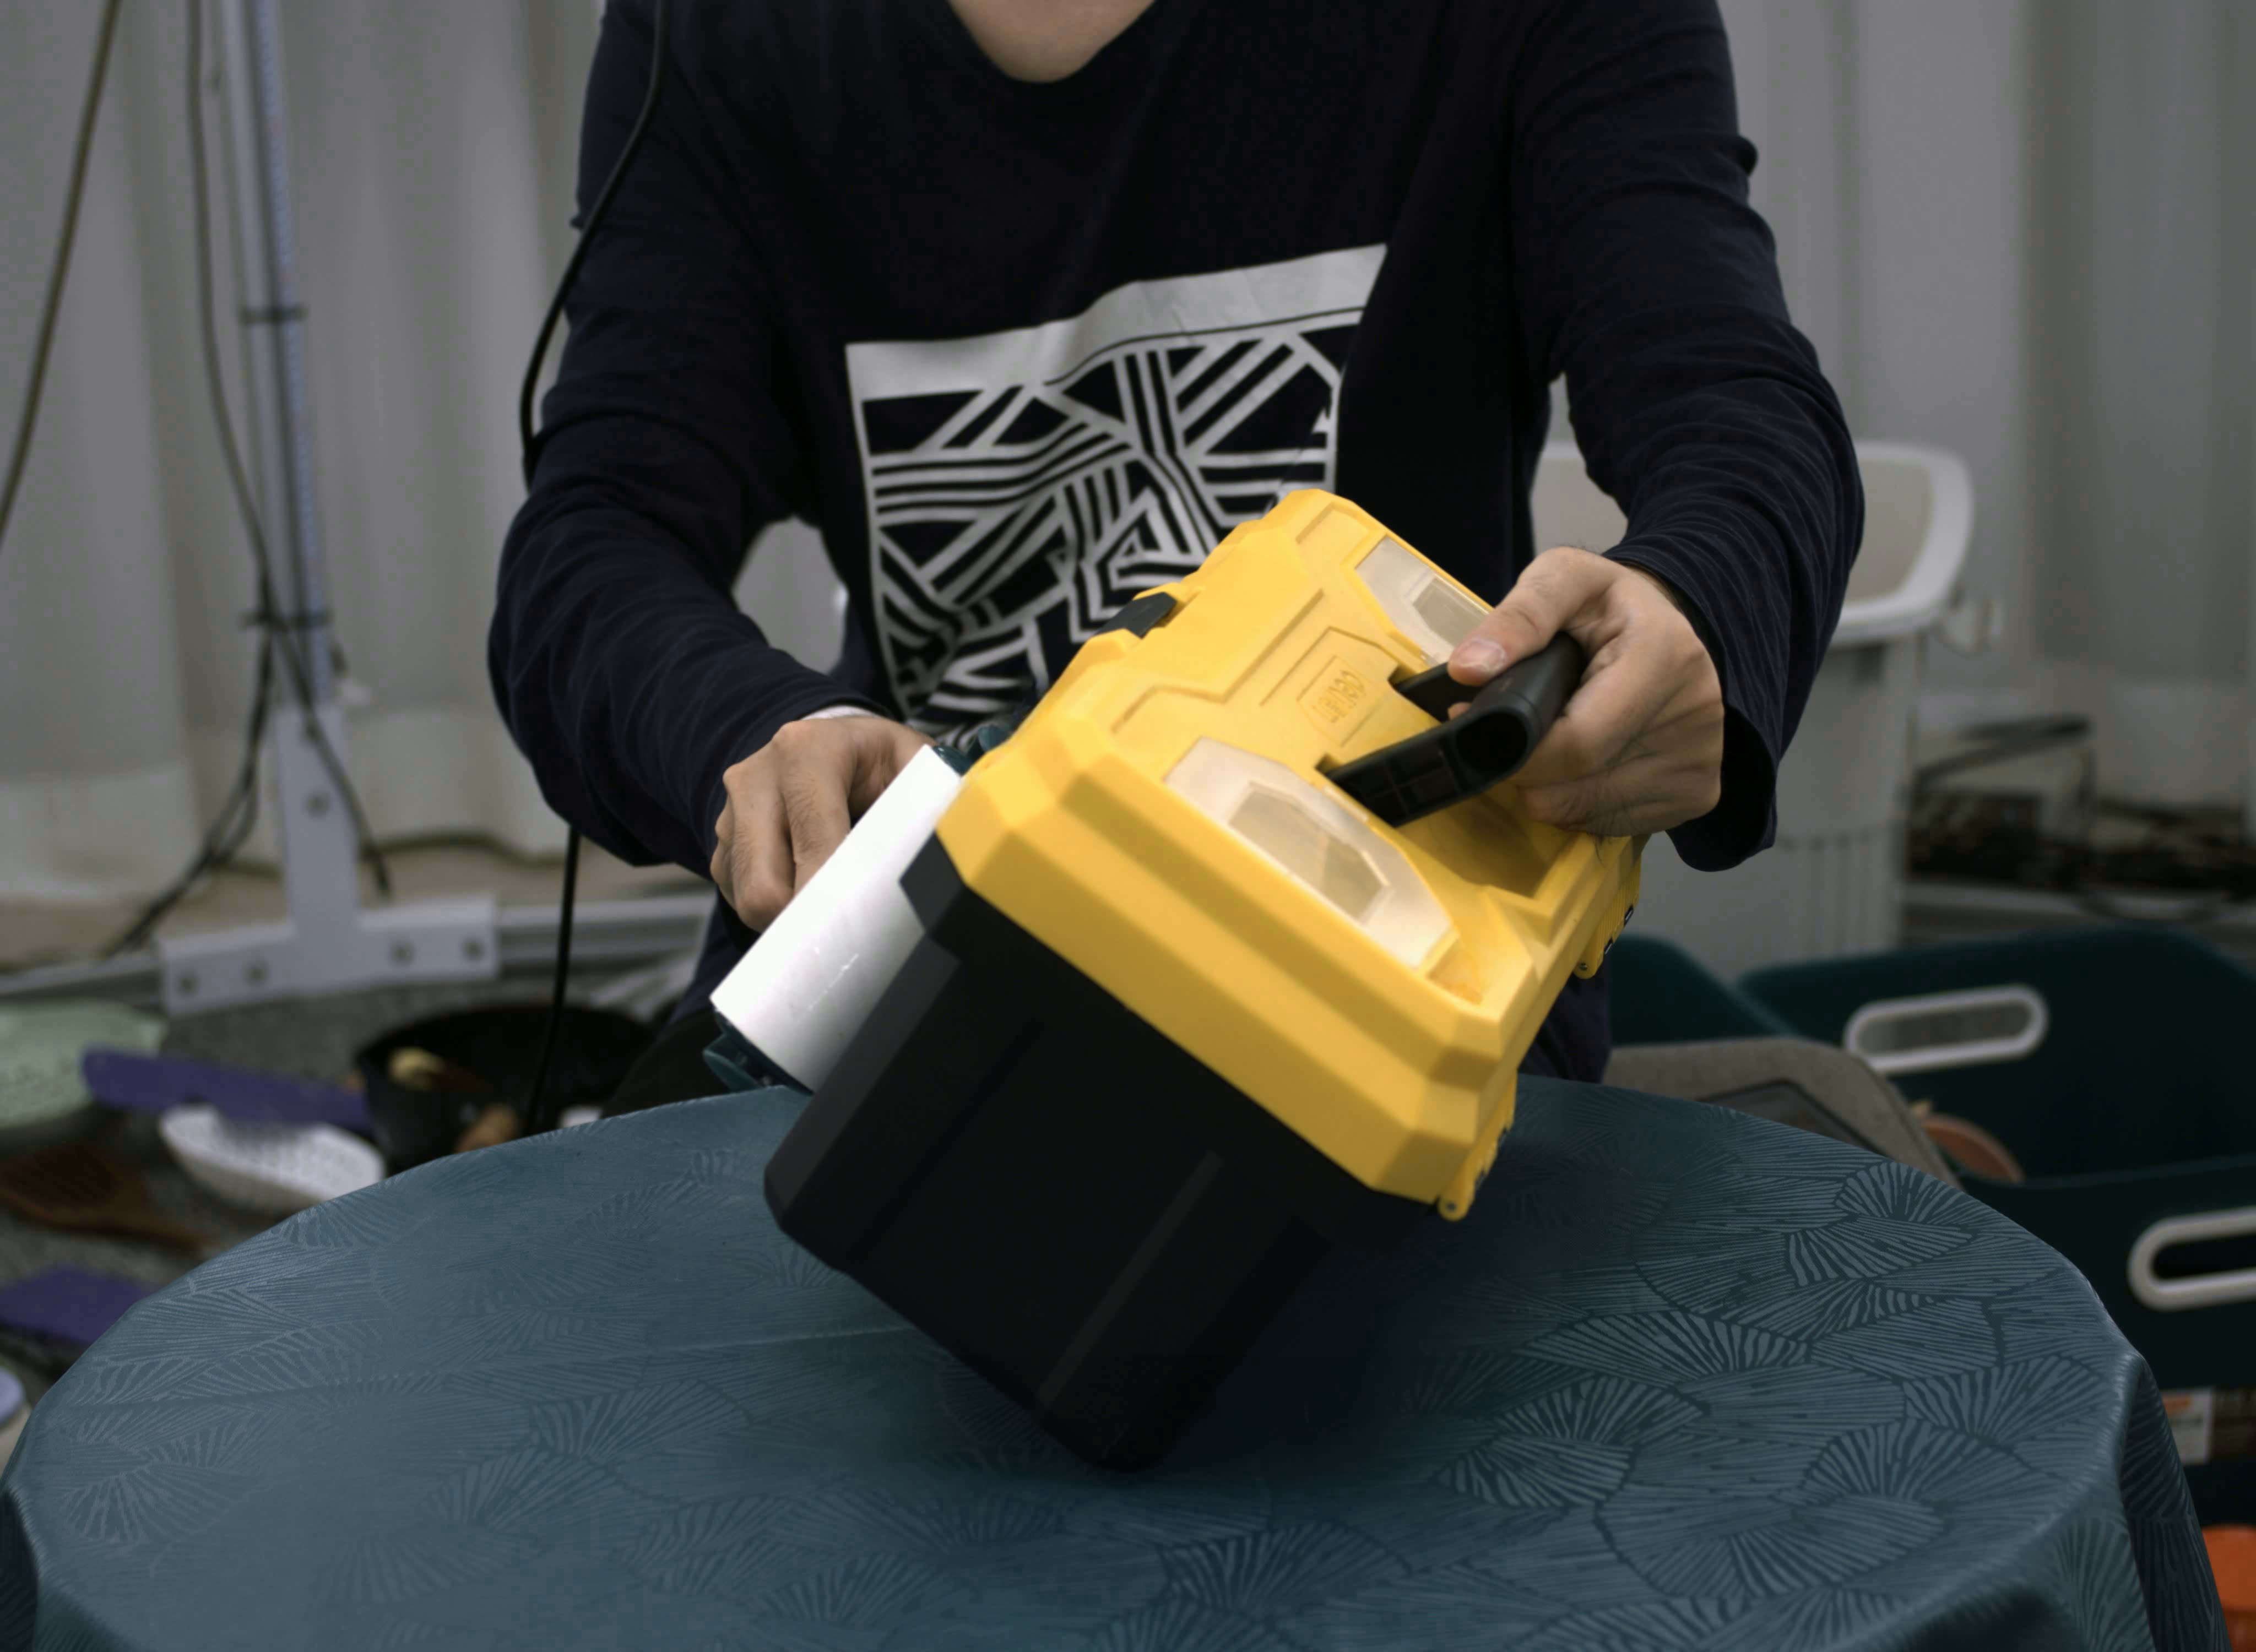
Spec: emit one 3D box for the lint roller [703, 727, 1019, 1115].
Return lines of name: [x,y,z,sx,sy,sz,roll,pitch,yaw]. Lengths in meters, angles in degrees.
lint roller: [-0.088,0.014,1.686,0.048,0.134,0.181,40,1,-17]

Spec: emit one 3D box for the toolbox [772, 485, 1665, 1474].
toolbox: [0.030,0.036,1.597,0.181,0.172,0.353,37,20,2]
